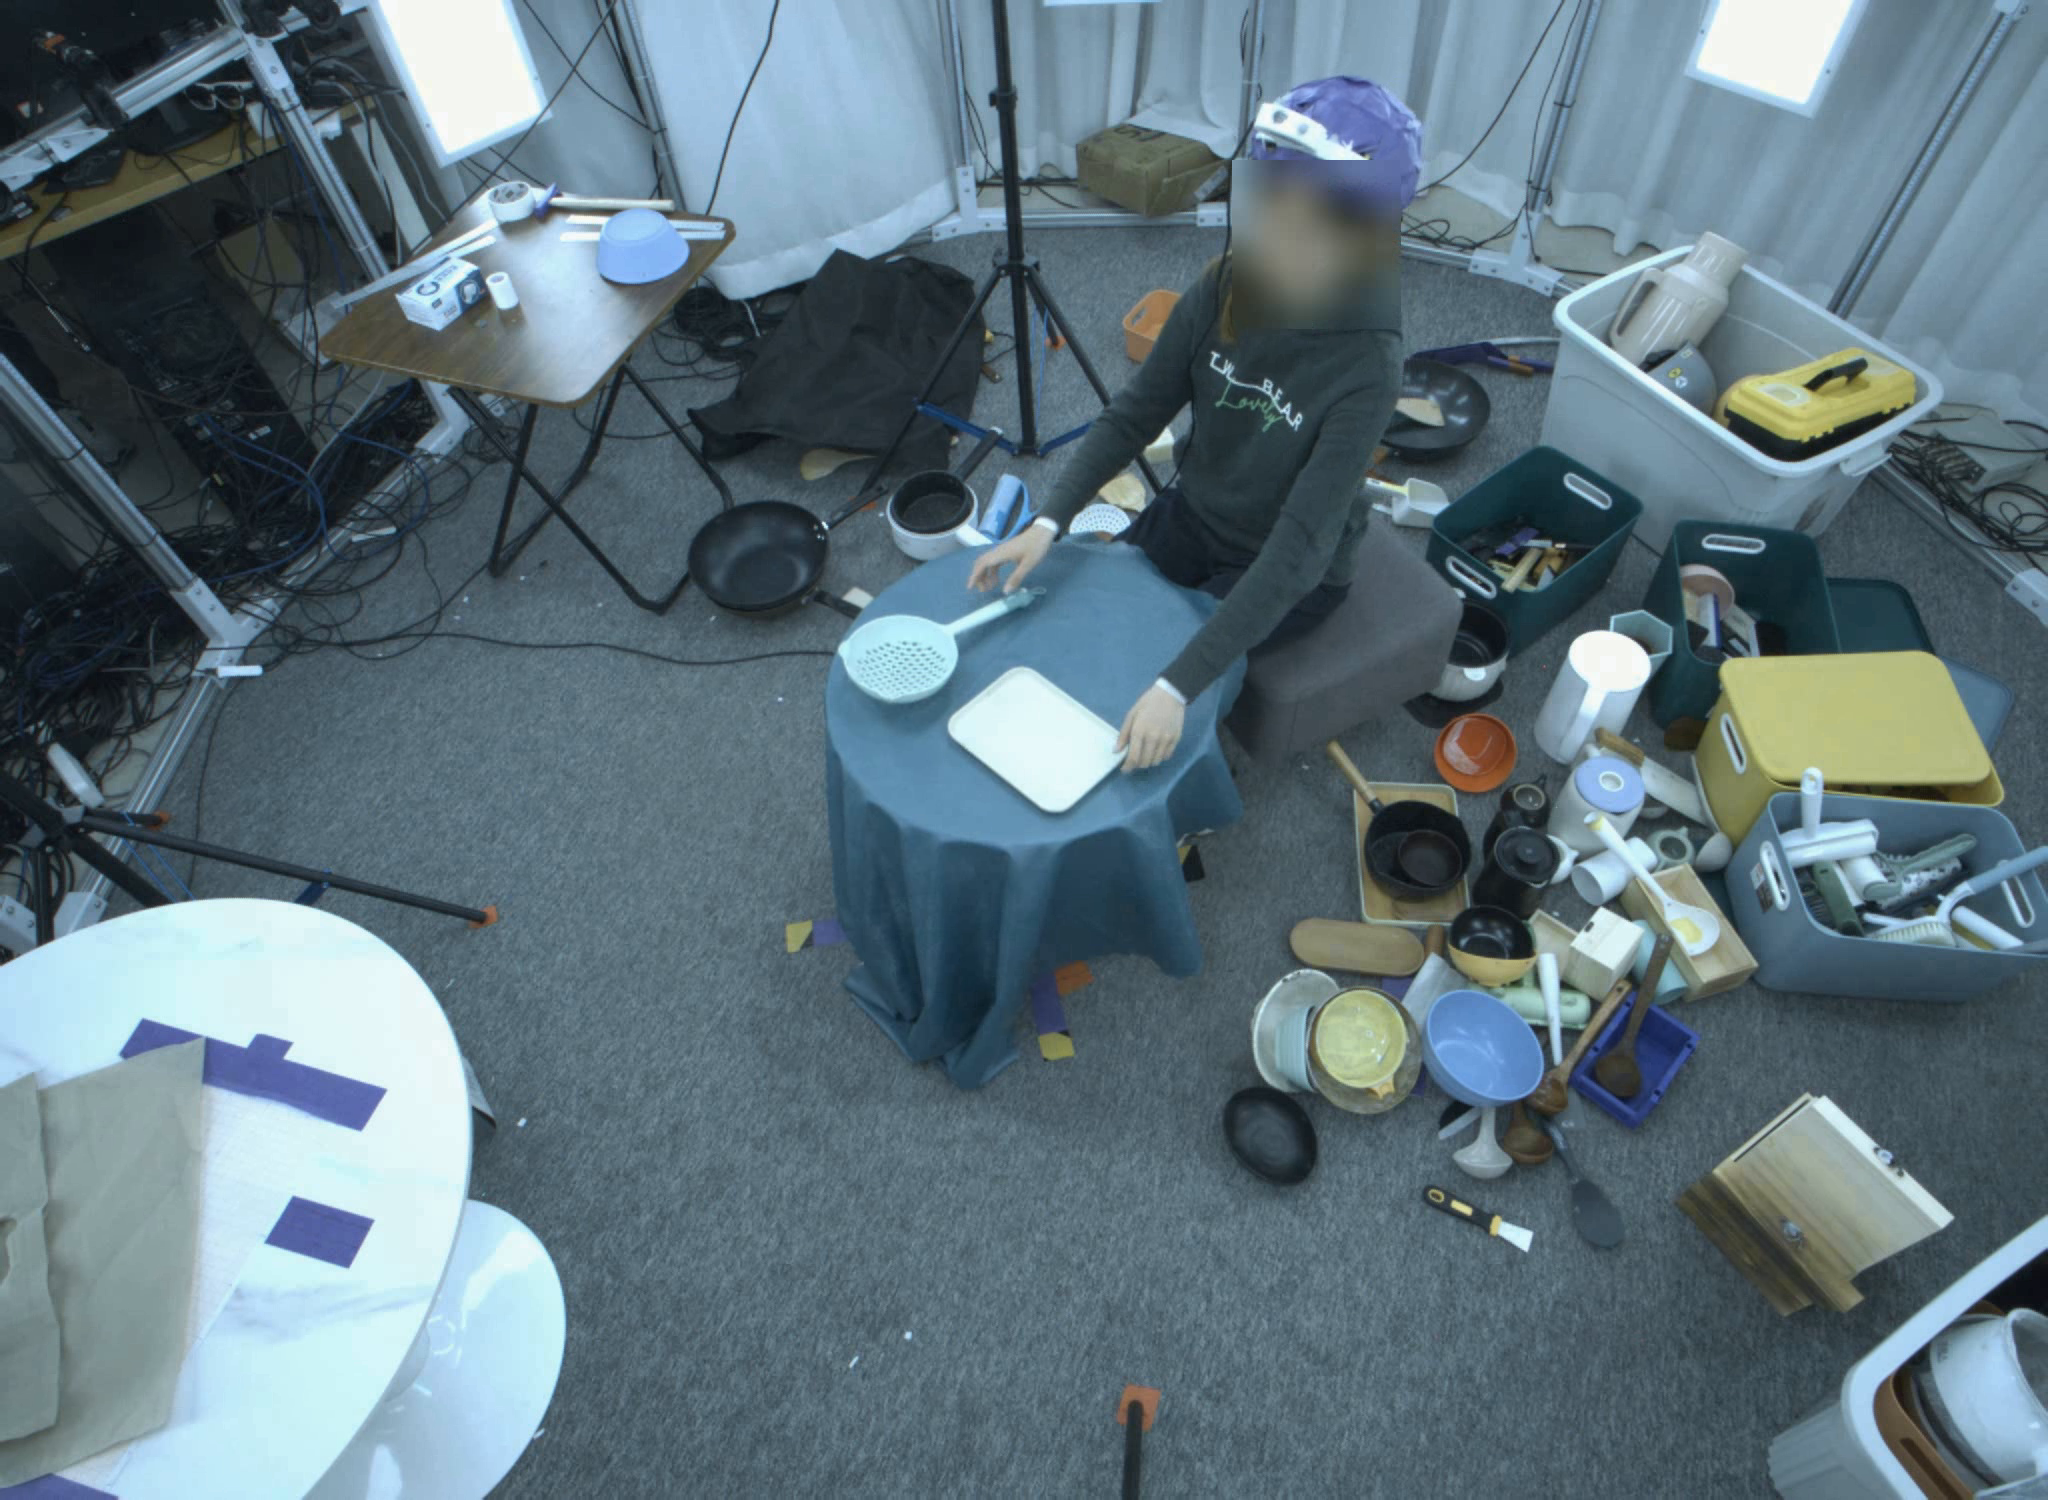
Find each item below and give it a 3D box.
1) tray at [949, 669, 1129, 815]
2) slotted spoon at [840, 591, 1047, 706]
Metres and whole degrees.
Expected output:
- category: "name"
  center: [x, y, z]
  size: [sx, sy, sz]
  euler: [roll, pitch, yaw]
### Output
- category: "tray"
  center: [0.021, -0.013, 1.797]
  size: [0.235, 0.017, 0.172]
  euler: [38, 64, 24]
- category: "slotted spoon"
  center: [-0.108, -0.175, 1.885]
  size: [0.361, 0.076, 0.166]
  euler: [-35, 61, -21]
